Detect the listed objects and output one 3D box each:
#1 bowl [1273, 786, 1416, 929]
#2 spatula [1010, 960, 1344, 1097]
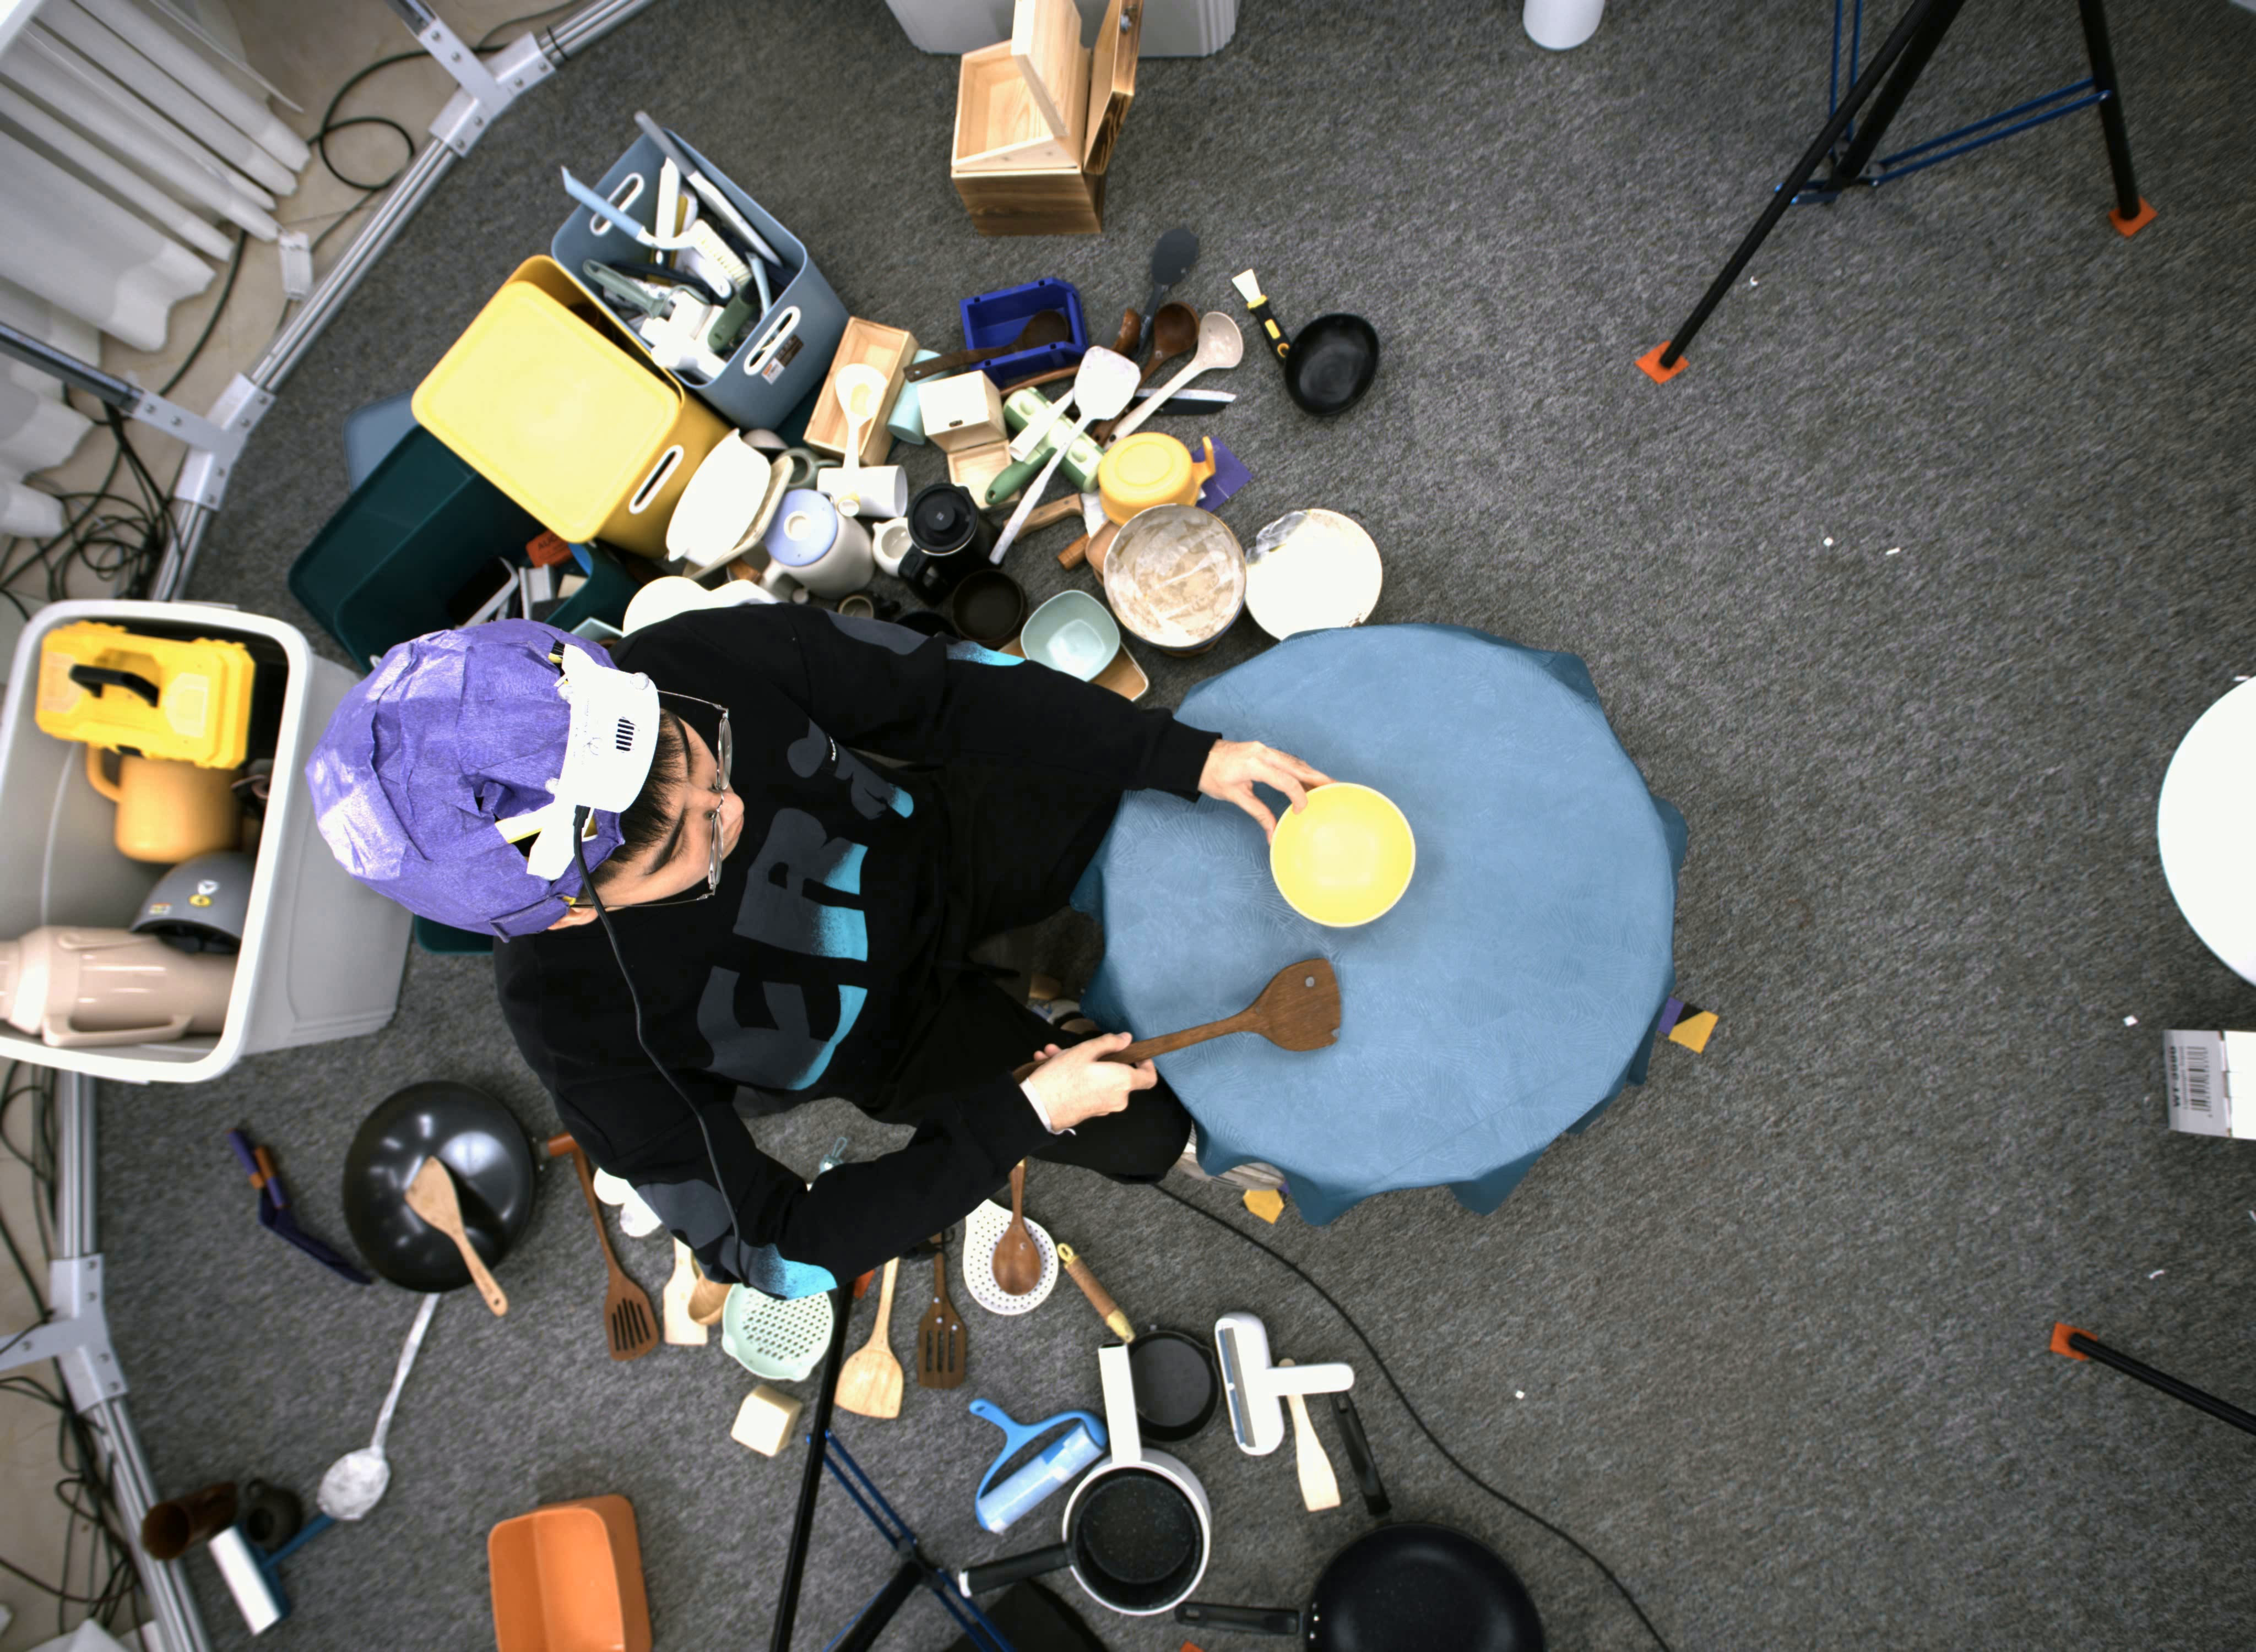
[{"bbox_3d":[0.223,0.031,1.423,0.146,0.060,0.145,0,93,9],"label":"bowl"},{"bbox_3d":[0.060,0.209,1.364,0.382,0.016,0.096,-10,97,-29],"label":"spatula"}]
